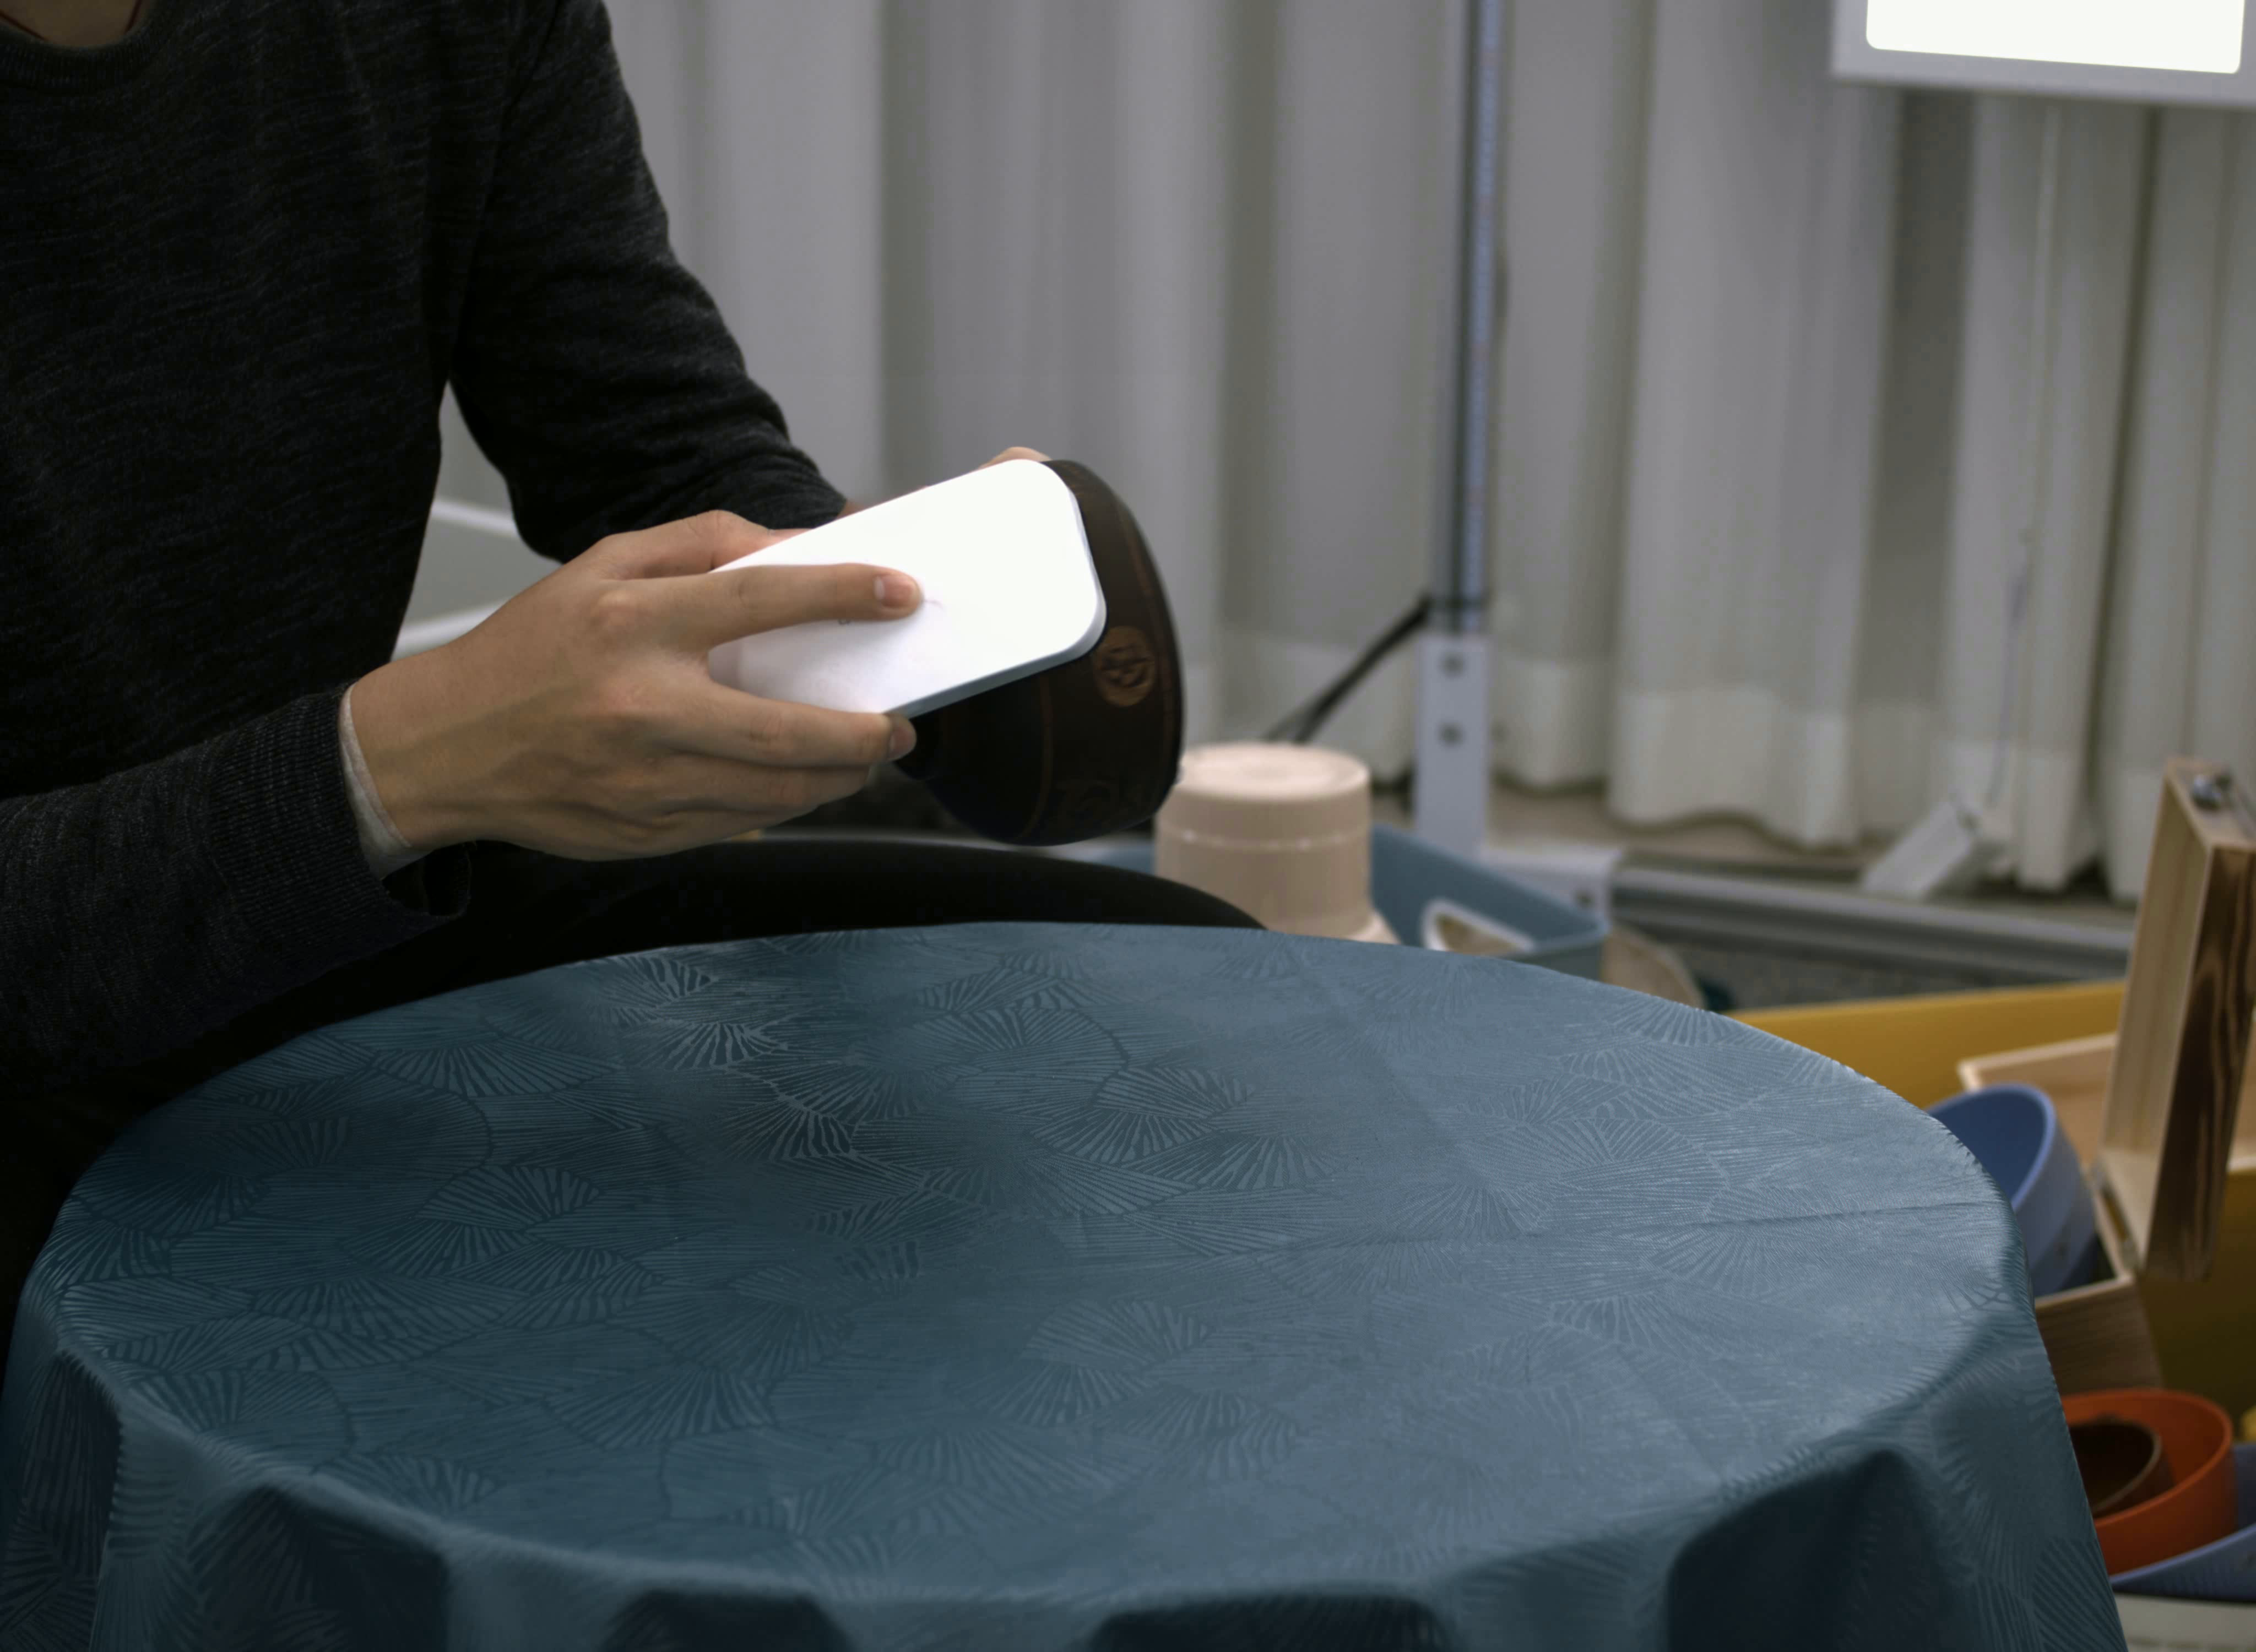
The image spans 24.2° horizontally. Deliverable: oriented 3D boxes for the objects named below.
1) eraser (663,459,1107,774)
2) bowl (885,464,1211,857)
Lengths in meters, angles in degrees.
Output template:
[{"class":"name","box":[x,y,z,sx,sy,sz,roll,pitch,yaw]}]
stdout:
[{"class":"eraser","box":[-0.072,-0.062,1.541,0.130,0.063,0.035,-19,-15,13]},{"class":"bowl","box":[-0.034,-0.045,1.599,0.070,0.119,0.116,-23,26,-26]}]
